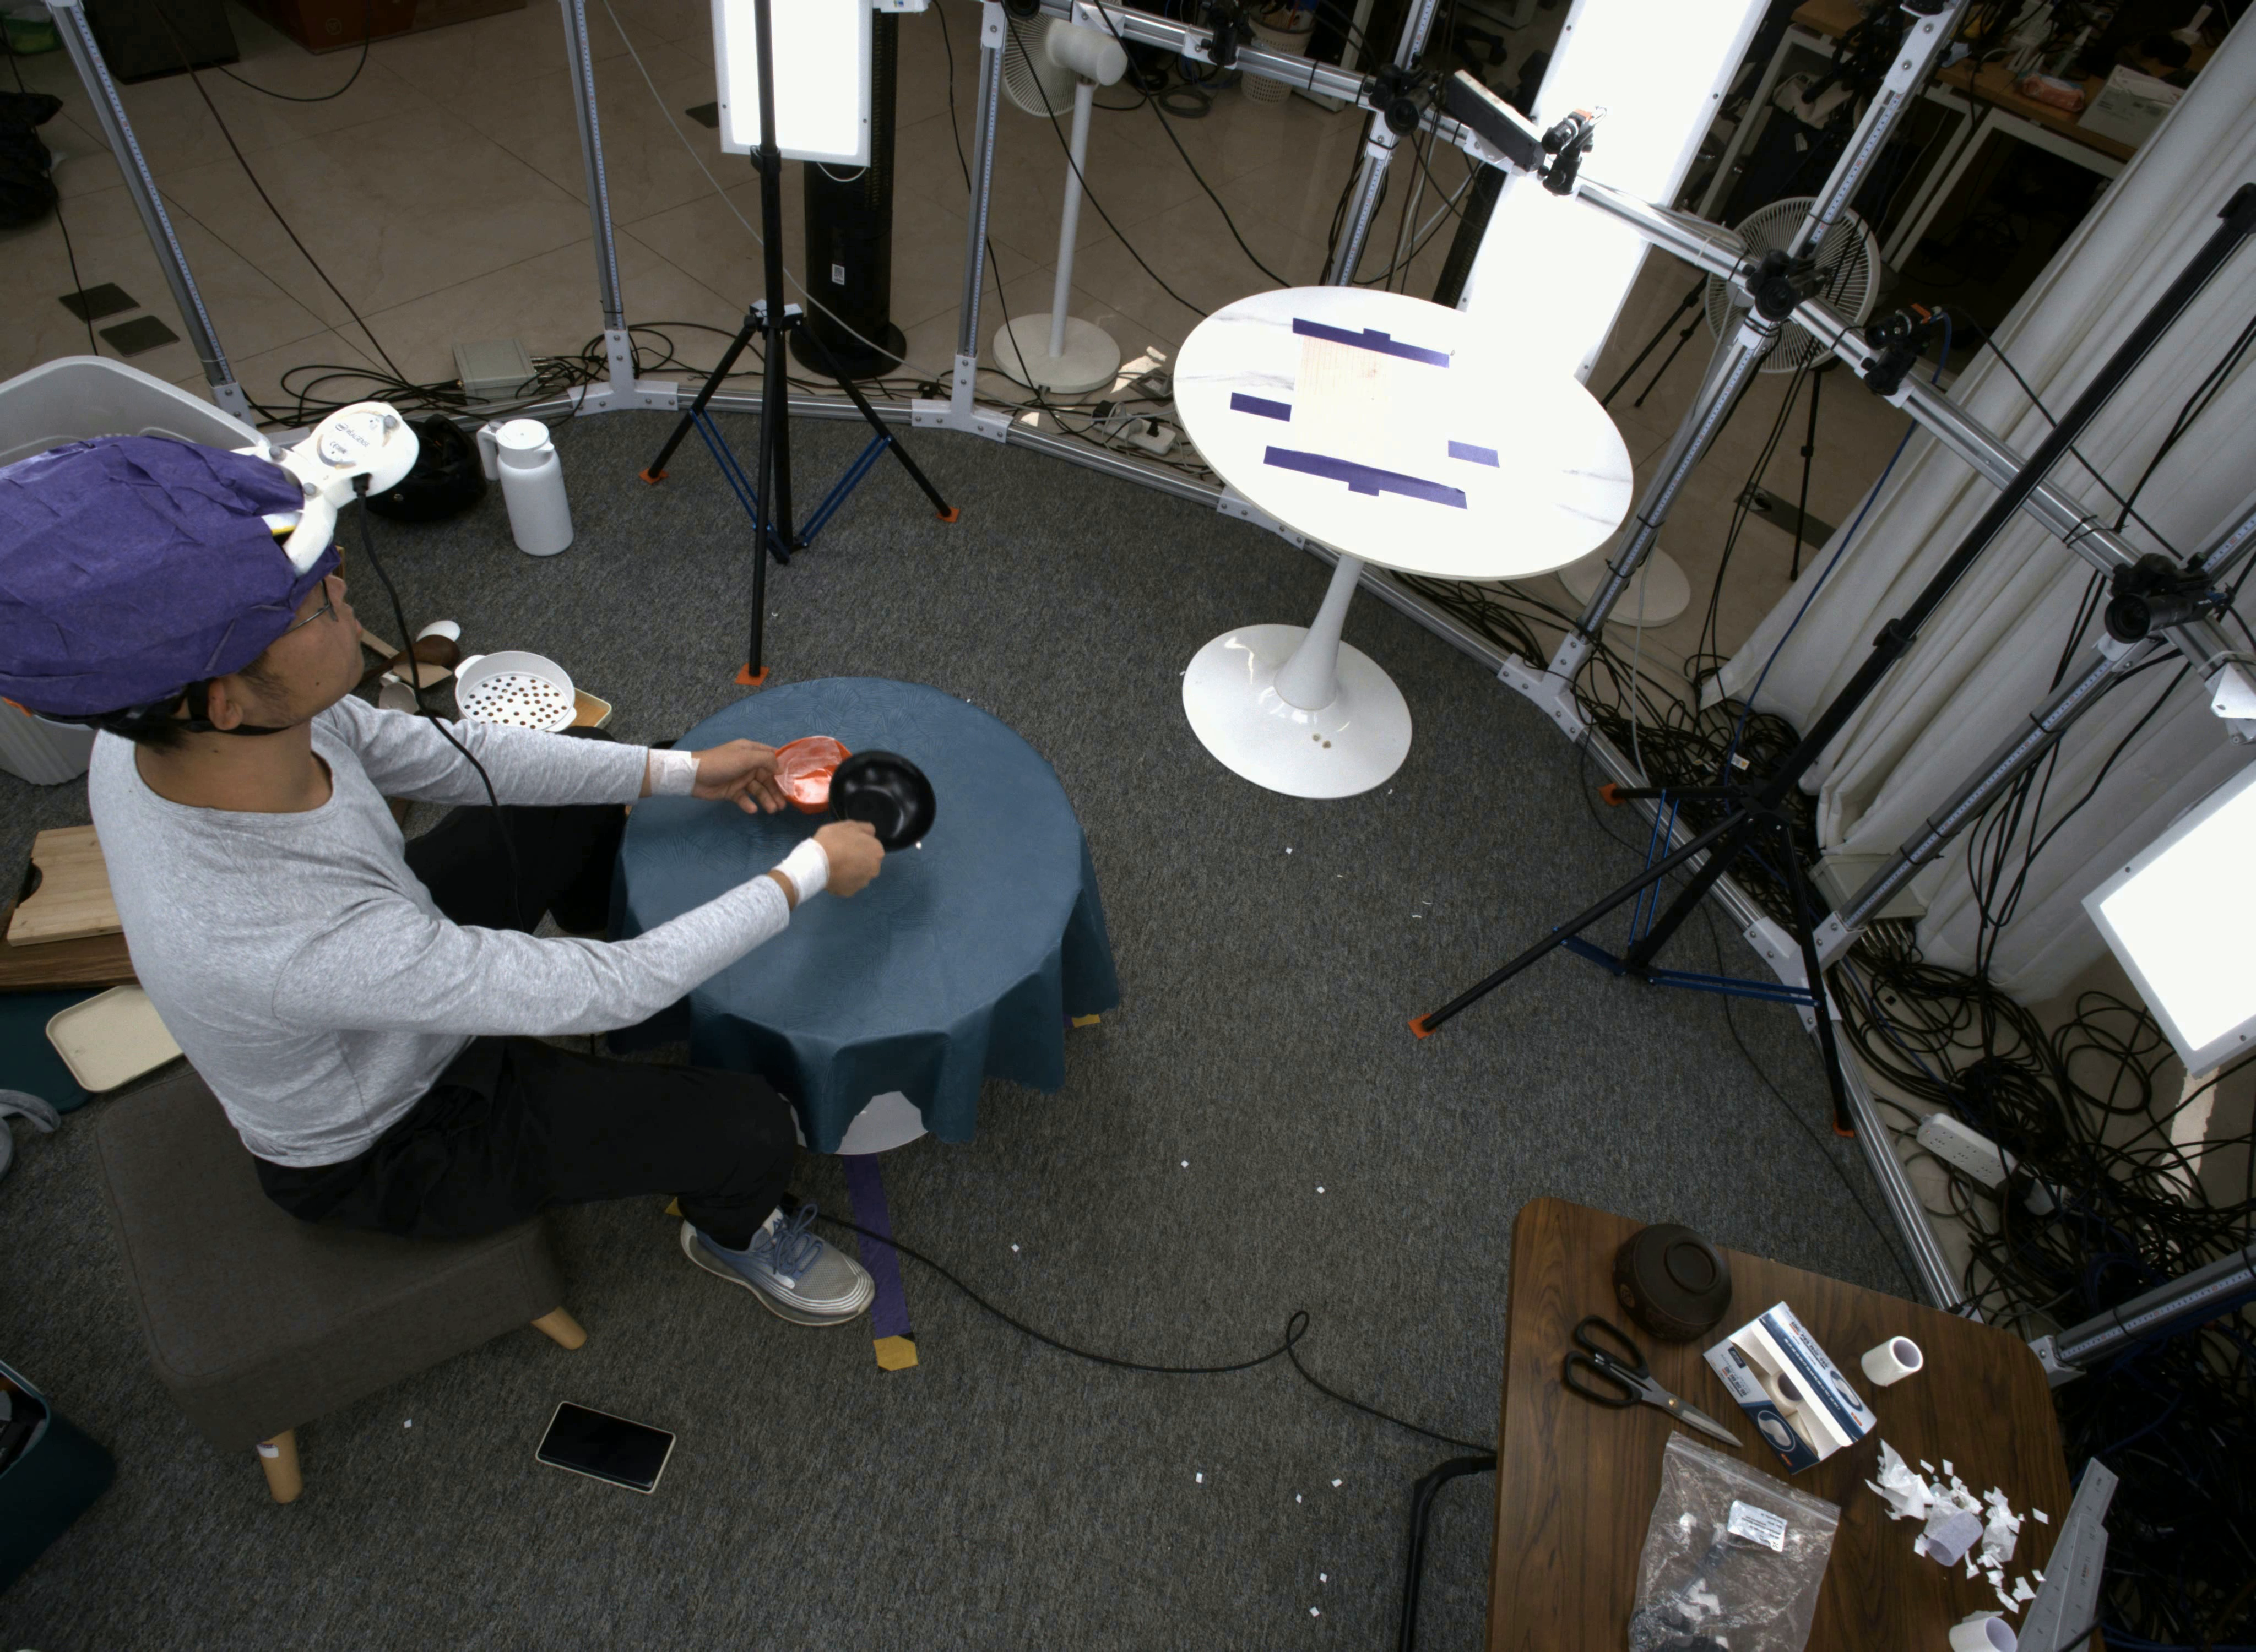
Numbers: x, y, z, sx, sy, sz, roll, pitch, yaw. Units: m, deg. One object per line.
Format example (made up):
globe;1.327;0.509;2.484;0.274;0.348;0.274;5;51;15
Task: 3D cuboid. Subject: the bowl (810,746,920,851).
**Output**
bowl;-0.335;-0.028;1.635;0.142;0.049;0.138;12;63;-23

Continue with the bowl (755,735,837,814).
bowl;-0.436;-0.061;1.726;0.119;0.052;0.117;9;54;-11
